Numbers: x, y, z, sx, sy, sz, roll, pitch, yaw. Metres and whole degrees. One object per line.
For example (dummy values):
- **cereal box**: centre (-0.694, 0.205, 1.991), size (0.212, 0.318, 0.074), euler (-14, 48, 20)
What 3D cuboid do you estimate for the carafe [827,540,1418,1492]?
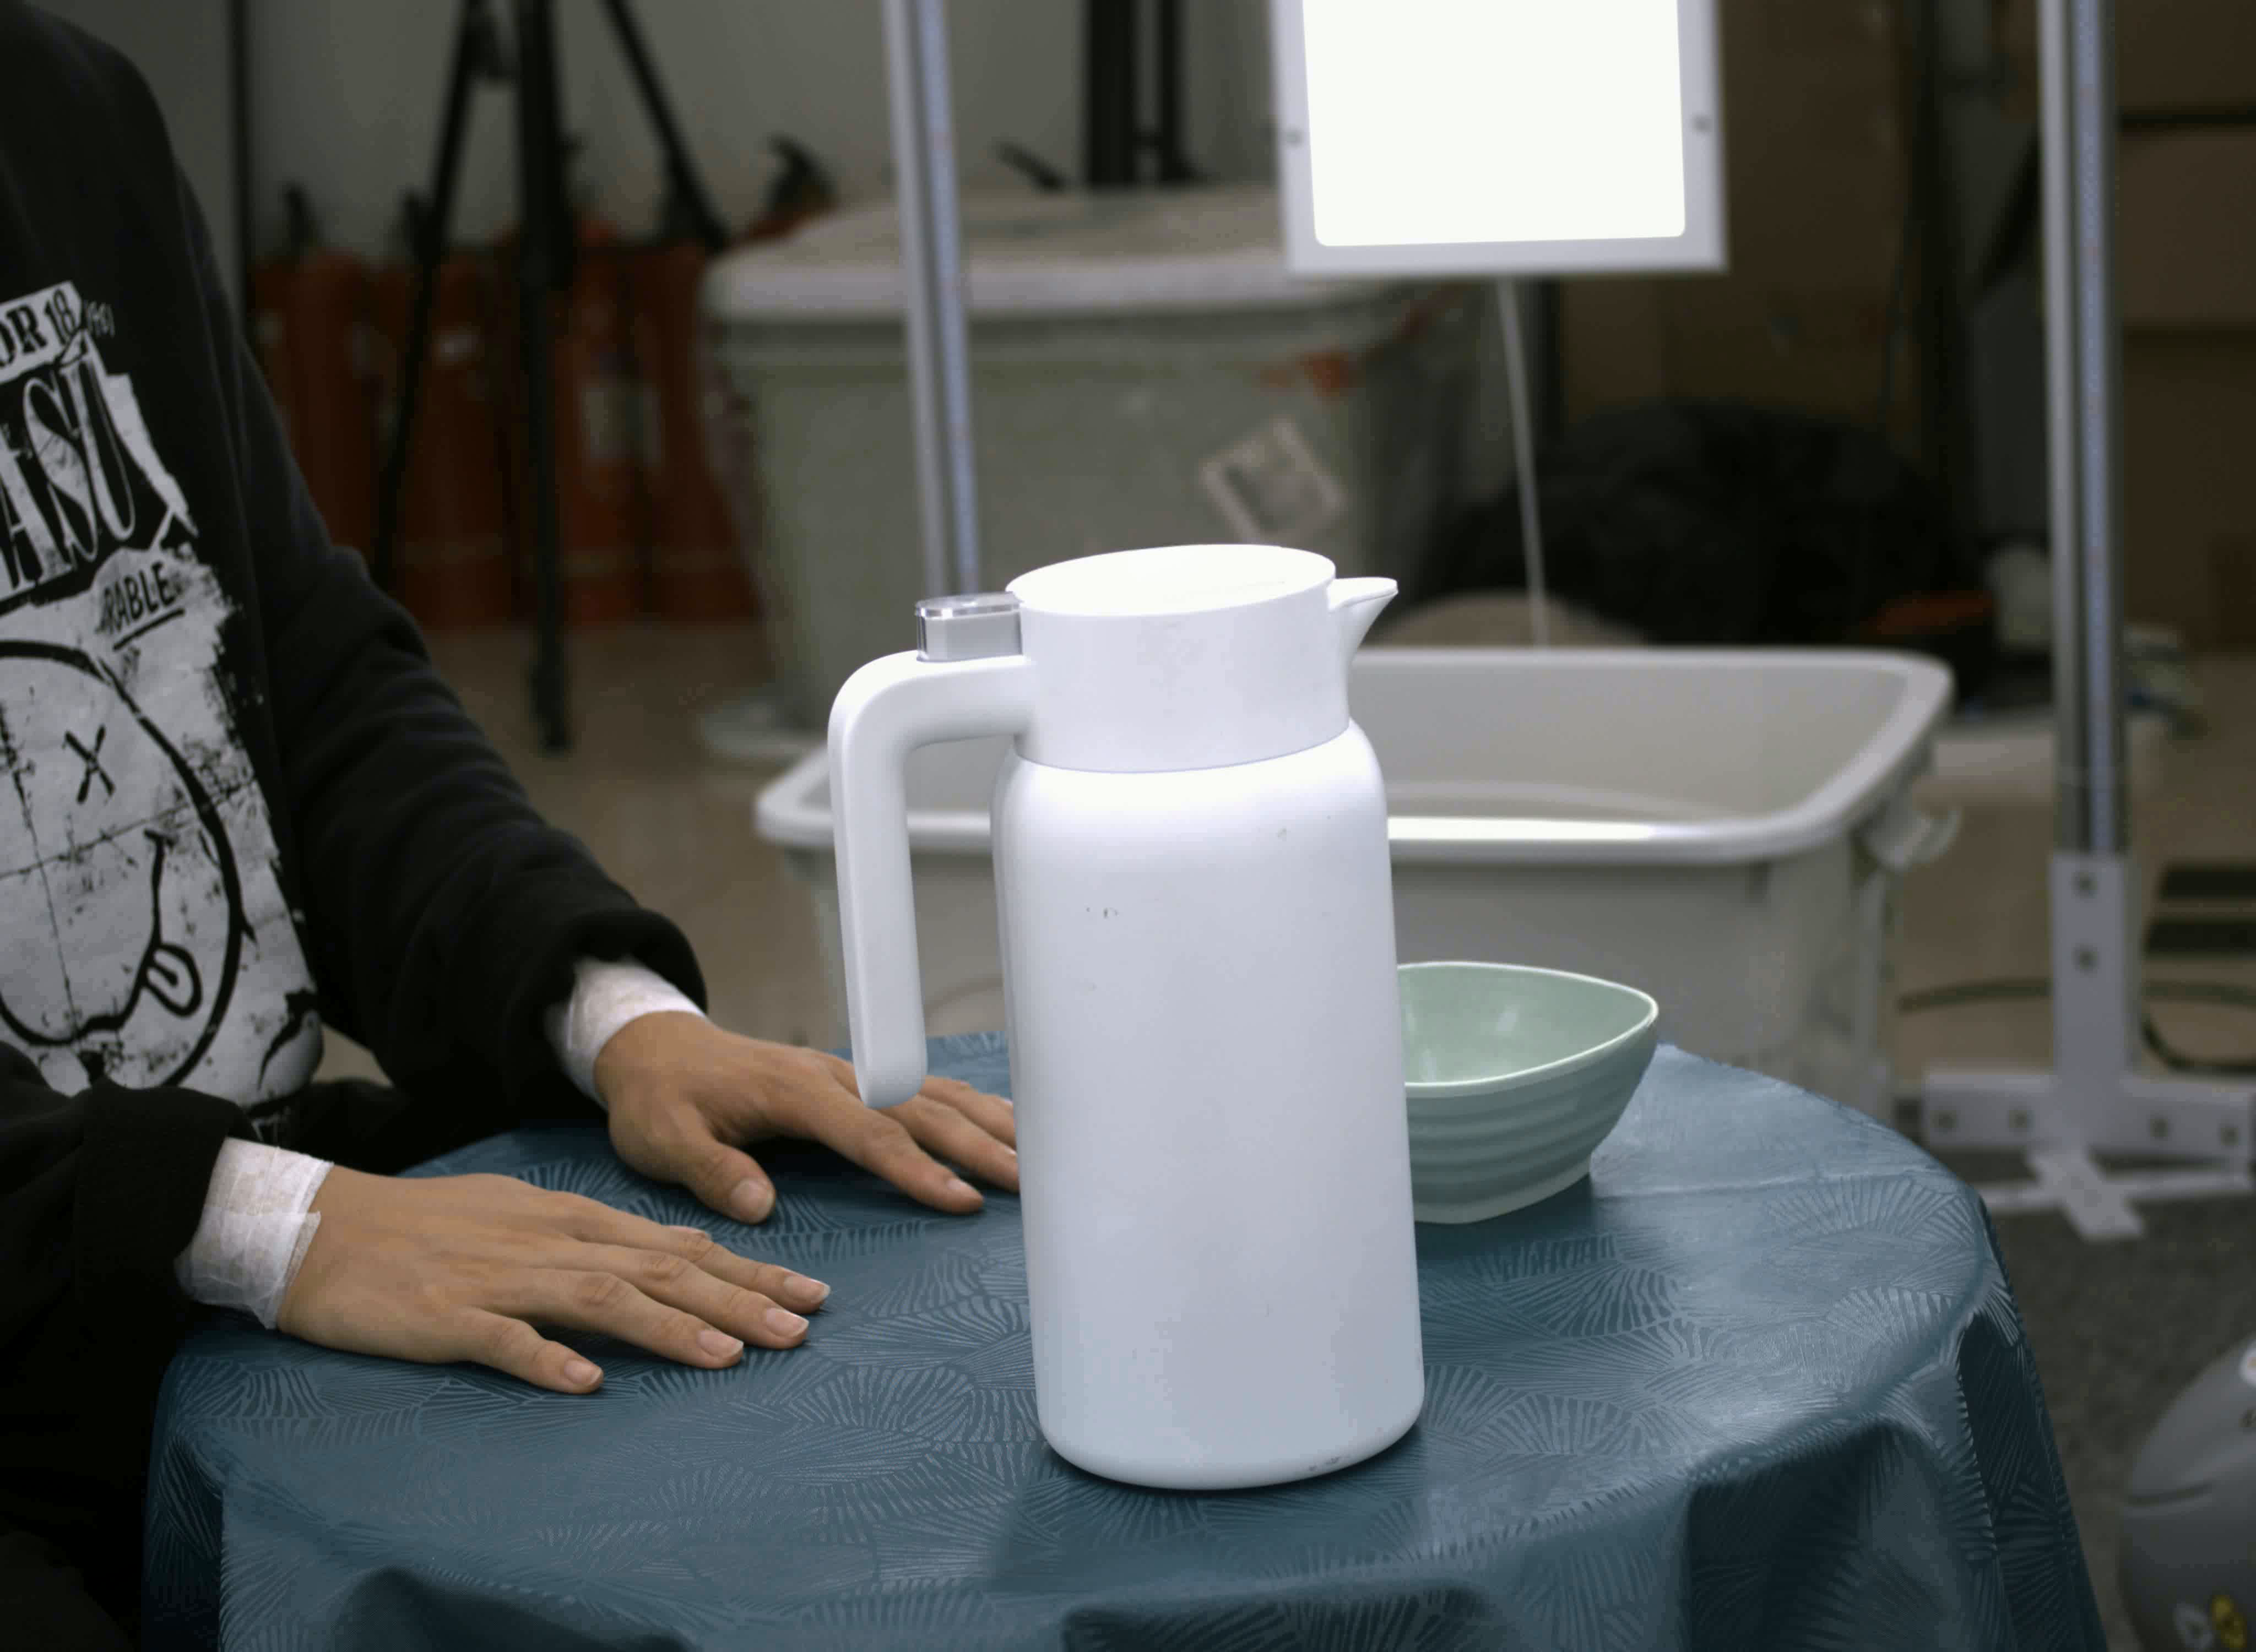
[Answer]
- **carafe**: centre (0.004, 0.057, 1.622), size (0.171, 0.270, 0.124), euler (-7, 16, -10)

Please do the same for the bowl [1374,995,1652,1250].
- **bowl**: centre (0.109, 0.104, 1.868), size (0.151, 0.059, 0.151), euler (-11, 11, 1)
